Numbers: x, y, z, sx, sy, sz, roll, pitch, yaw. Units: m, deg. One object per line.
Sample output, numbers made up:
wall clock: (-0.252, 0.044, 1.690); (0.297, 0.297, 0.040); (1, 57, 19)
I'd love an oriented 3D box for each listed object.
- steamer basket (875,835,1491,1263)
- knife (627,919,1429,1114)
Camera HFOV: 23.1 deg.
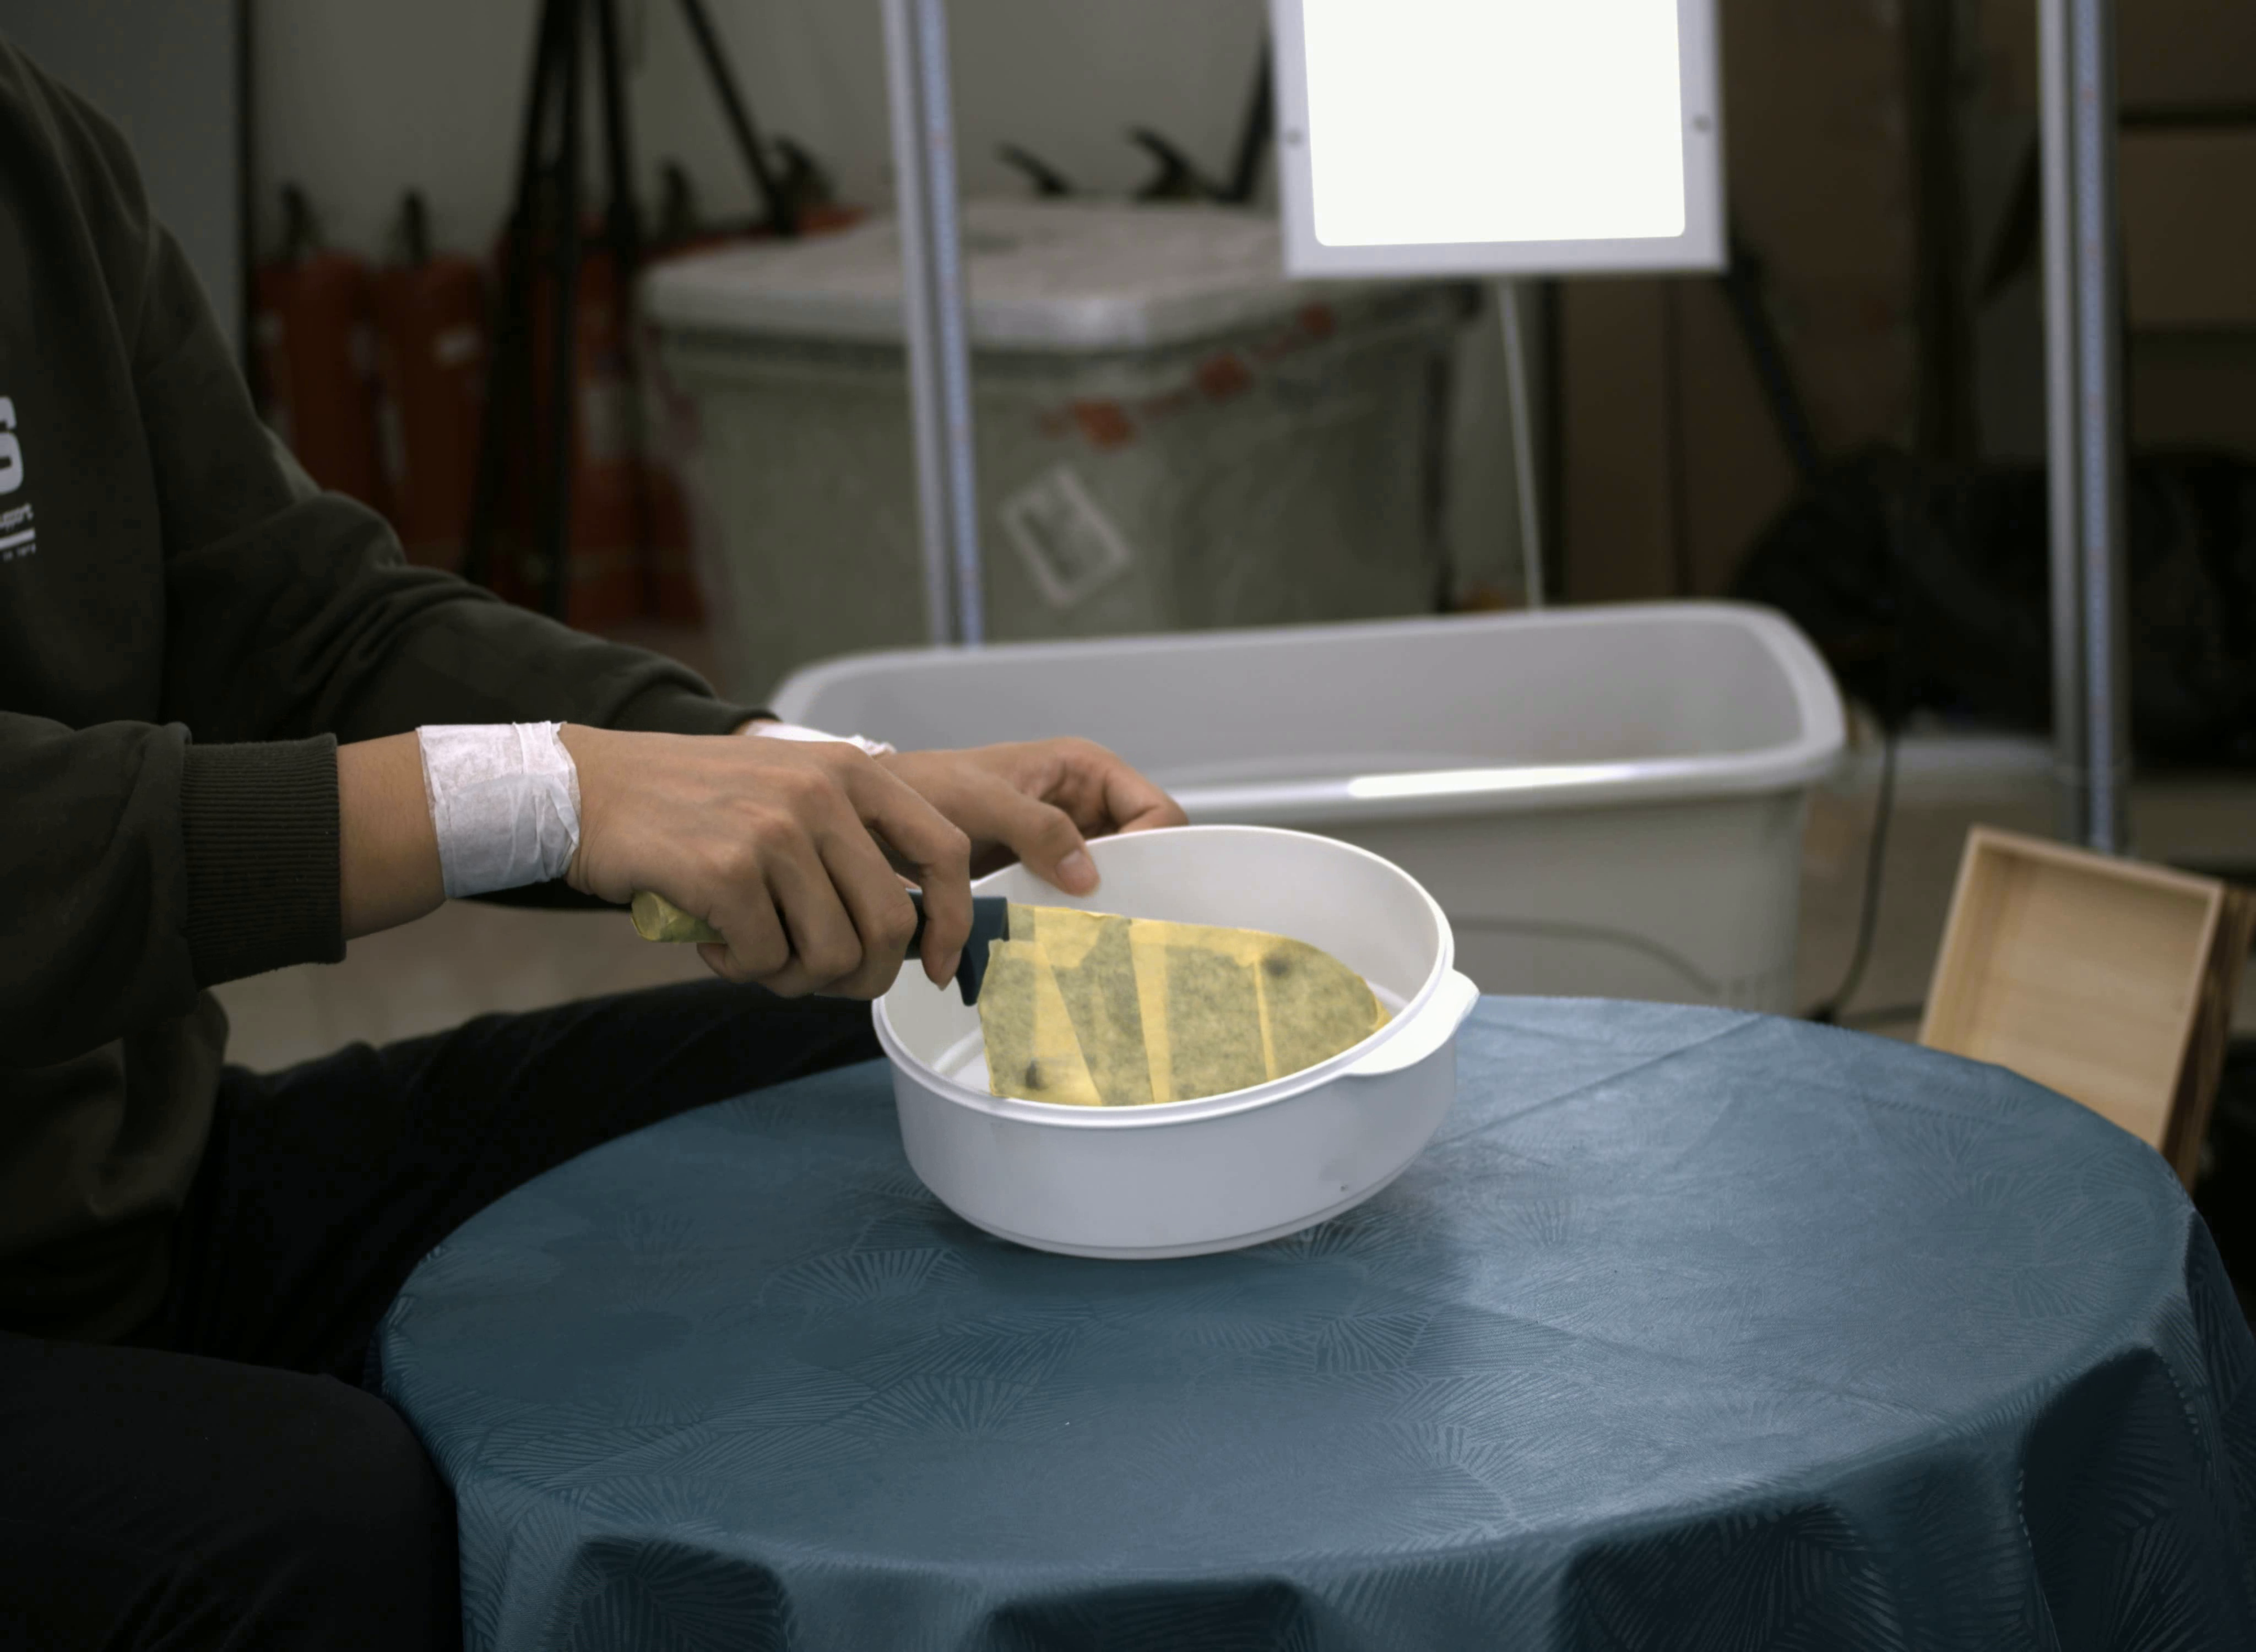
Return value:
steamer basket: (0.020, 0.076, 1.893); (0.235, 0.069, 0.197); (9, 32, 34)
knife: (-0.026, 0.064, 1.842); (0.284, 0.027, 0.081); (-2, 48, -19)
